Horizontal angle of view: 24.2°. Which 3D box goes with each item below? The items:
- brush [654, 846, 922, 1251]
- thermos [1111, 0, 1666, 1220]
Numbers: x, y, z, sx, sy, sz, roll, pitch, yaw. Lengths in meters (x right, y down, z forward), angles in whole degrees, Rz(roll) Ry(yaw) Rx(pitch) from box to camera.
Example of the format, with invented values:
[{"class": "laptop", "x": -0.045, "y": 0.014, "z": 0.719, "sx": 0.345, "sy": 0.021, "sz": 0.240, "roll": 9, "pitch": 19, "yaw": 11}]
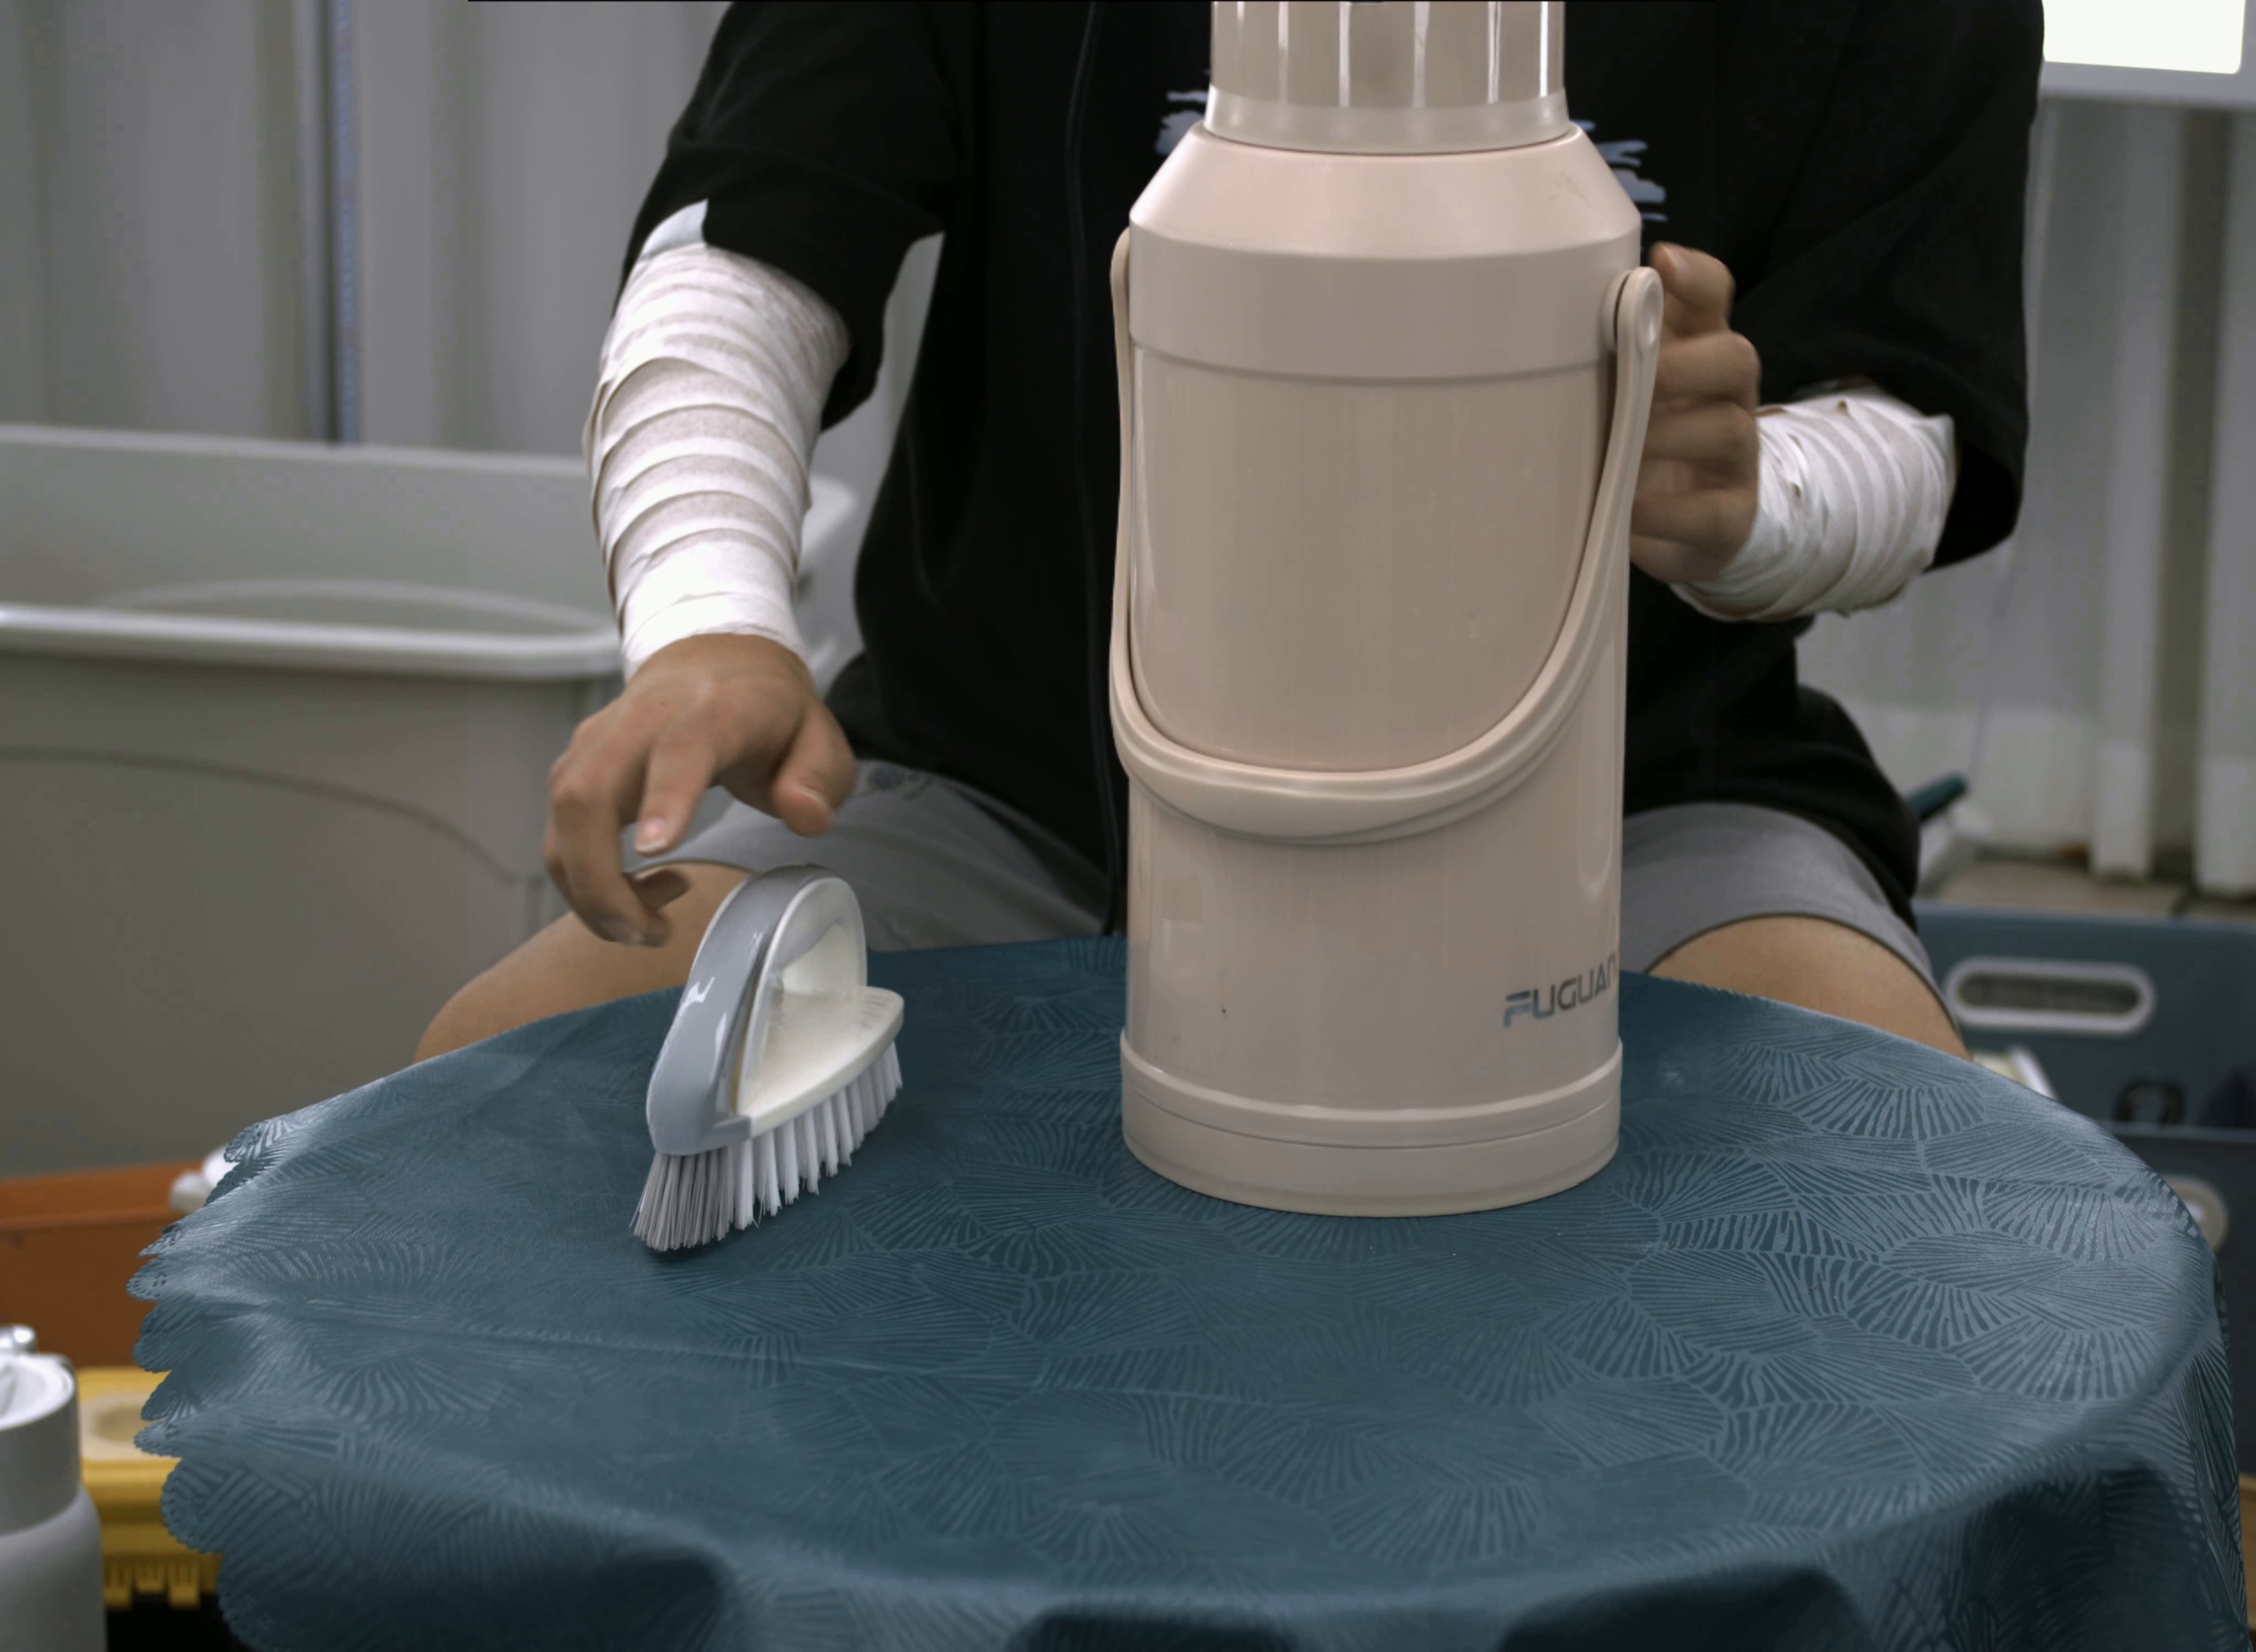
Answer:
[{"class": "brush", "x": -0.113, "y": 0.063, "z": 1.624, "sx": 0.061, "sy": 0.095, "sz": 0.175, "roll": 2, "pitch": 17, "yaw": 15}, {"class": "thermos", "x": 0.086, "y": -0.095, "z": 1.632, "sx": 0.173, "sy": 0.409, "sz": 0.207, "roll": 7, "pitch": 17, "yaw": 25}]
